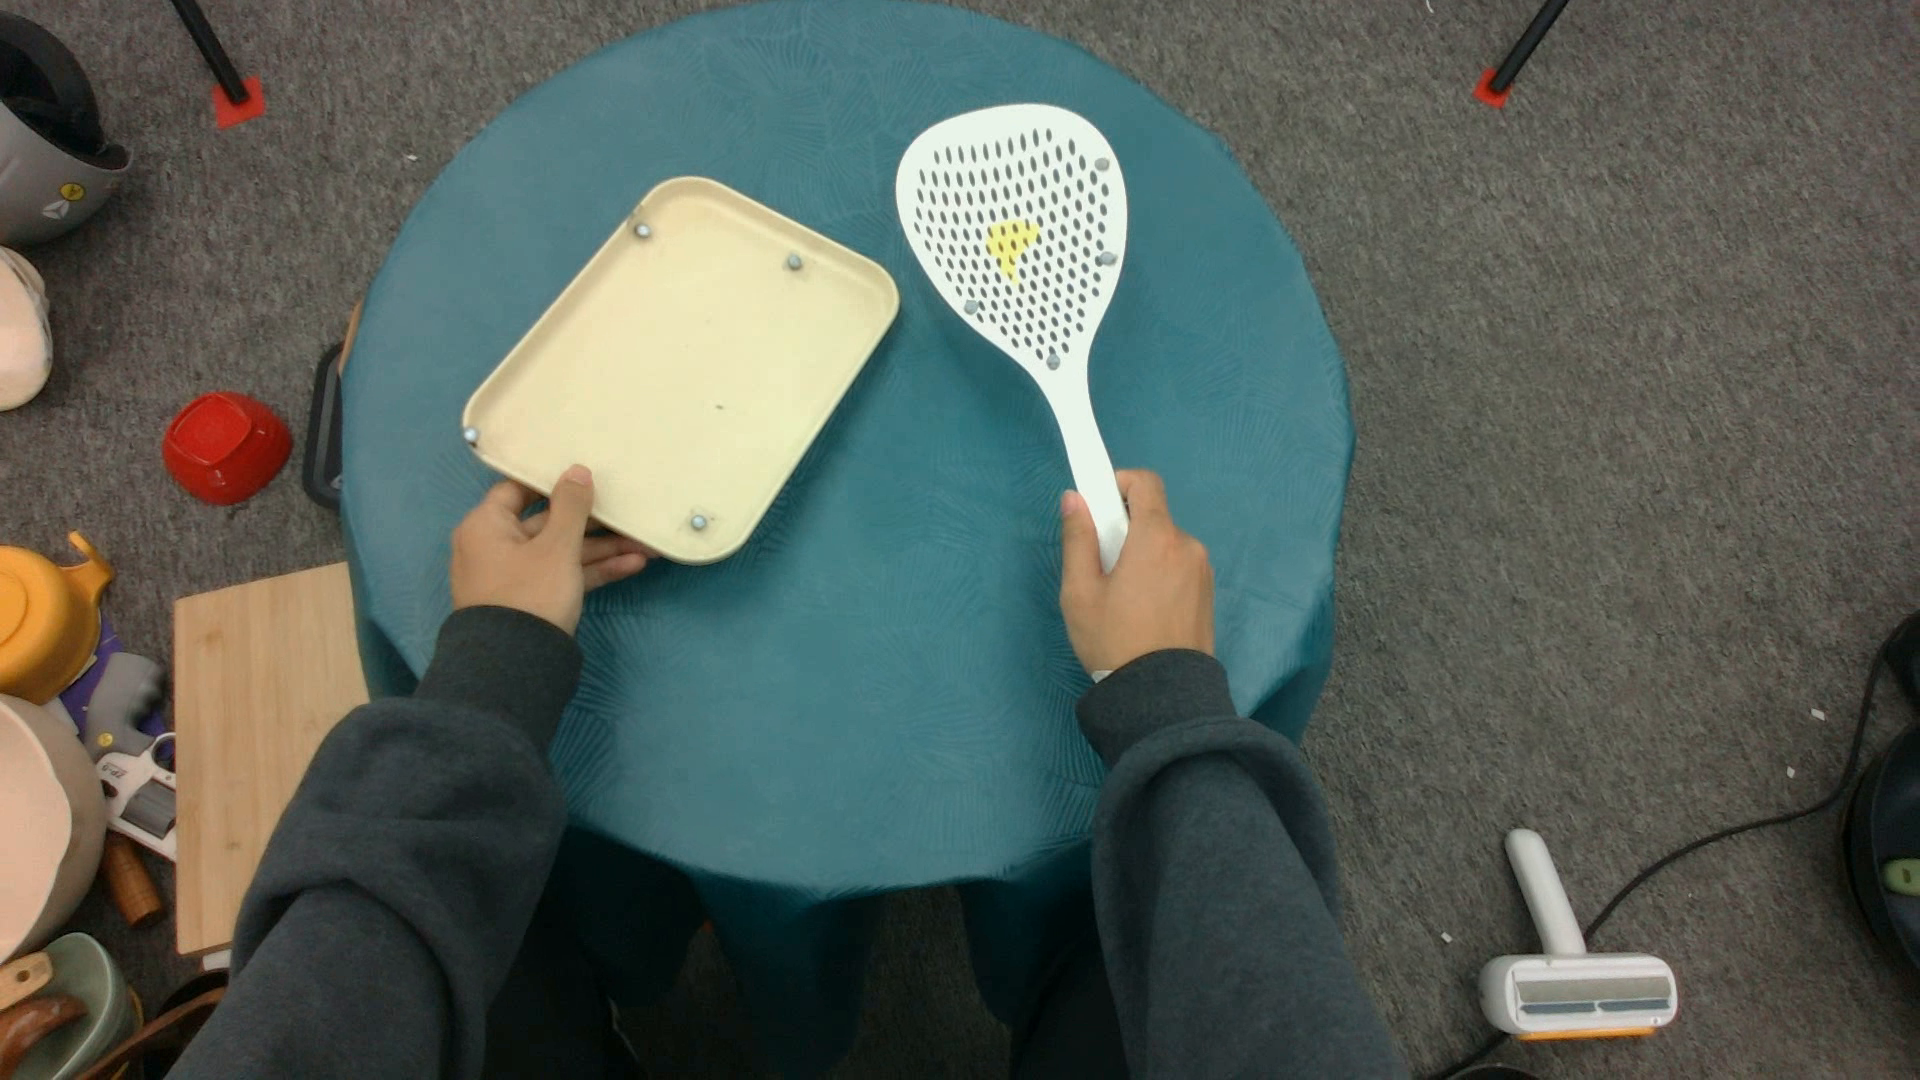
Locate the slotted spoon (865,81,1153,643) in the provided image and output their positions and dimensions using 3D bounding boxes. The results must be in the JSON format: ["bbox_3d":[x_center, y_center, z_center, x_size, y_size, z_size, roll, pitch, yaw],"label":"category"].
[{"bbox_3d":[0.044,-0.107,0.786,0.137,0.050,0.348,-14,70,-8],"label":"slotted spoon"}]

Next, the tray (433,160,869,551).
[{"bbox_3d":[-0.170,-0.112,0.793,0.171,0.017,0.241,27,60,2],"label":"tray"}]
